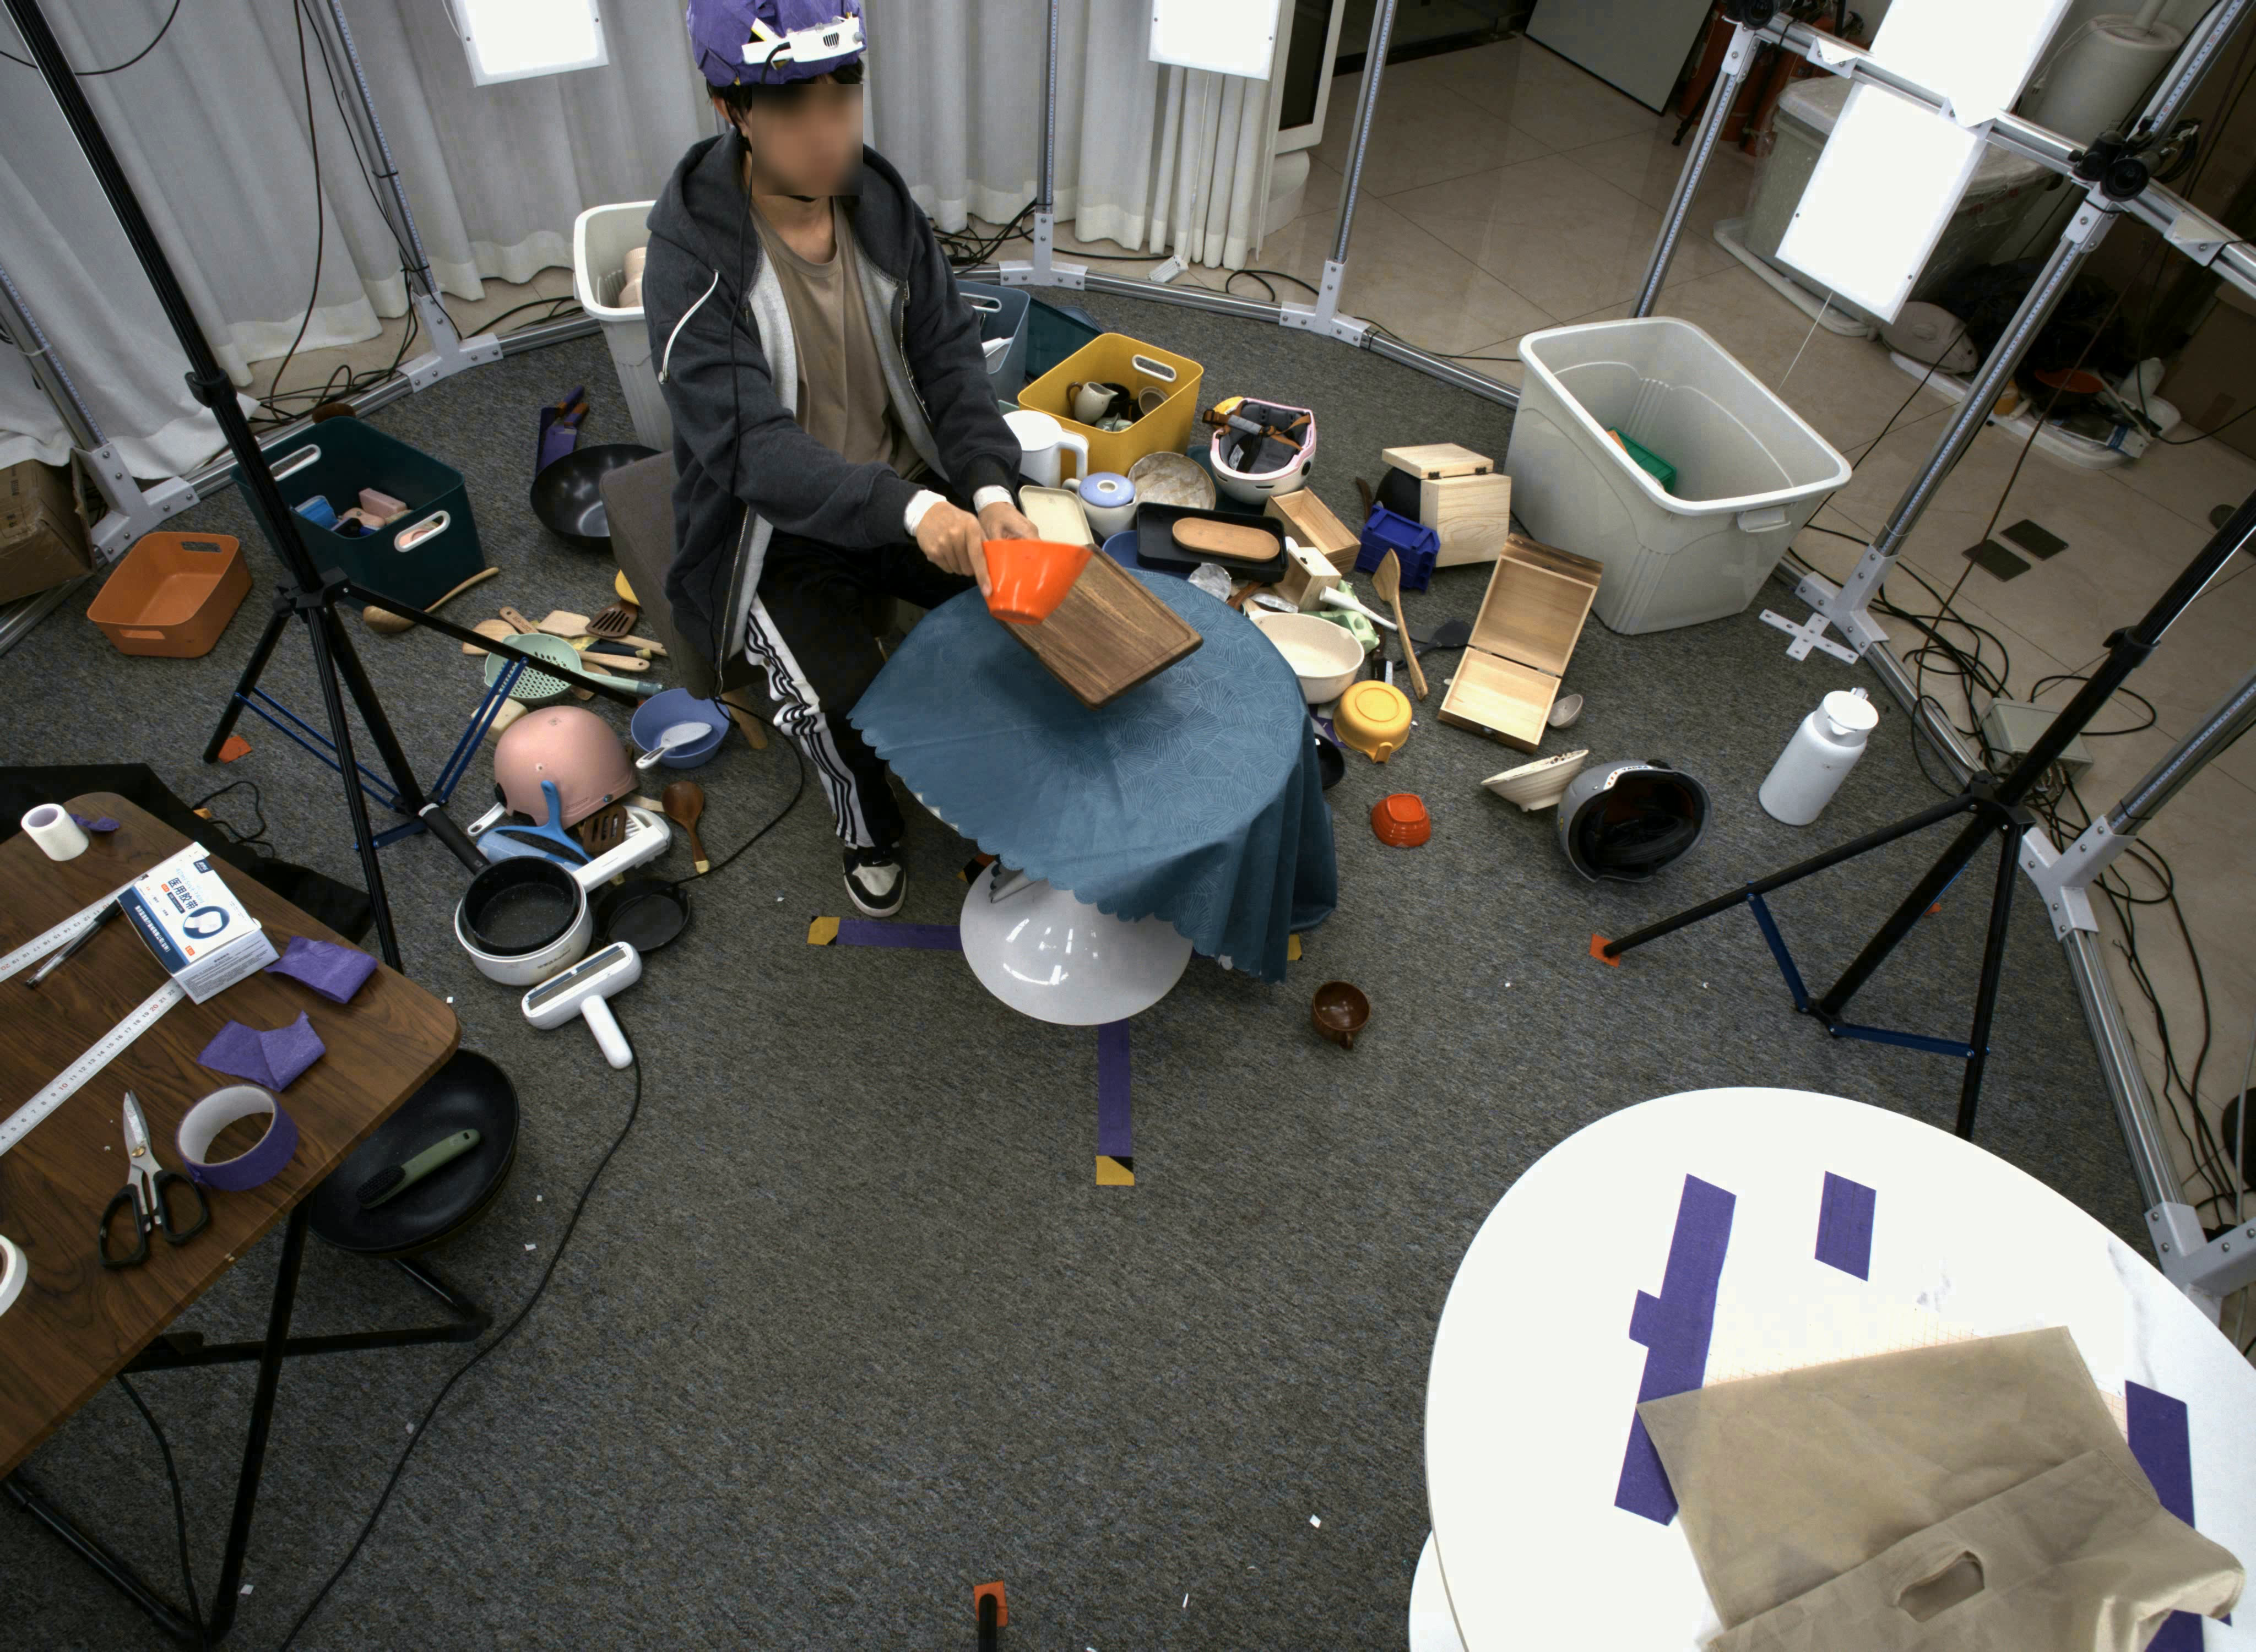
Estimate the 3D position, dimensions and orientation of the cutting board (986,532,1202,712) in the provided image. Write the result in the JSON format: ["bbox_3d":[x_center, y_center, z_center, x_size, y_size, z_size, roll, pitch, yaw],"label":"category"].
[{"bbox_3d":[-0.080,-0.315,1.822,0.202,0.022,0.358,-33,59,-21],"label":"cutting board"}]

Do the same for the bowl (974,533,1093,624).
[{"bbox_3d":[-0.124,-0.309,1.611,0.148,0.147,0.105,9,82,3],"label":"bowl"}]
